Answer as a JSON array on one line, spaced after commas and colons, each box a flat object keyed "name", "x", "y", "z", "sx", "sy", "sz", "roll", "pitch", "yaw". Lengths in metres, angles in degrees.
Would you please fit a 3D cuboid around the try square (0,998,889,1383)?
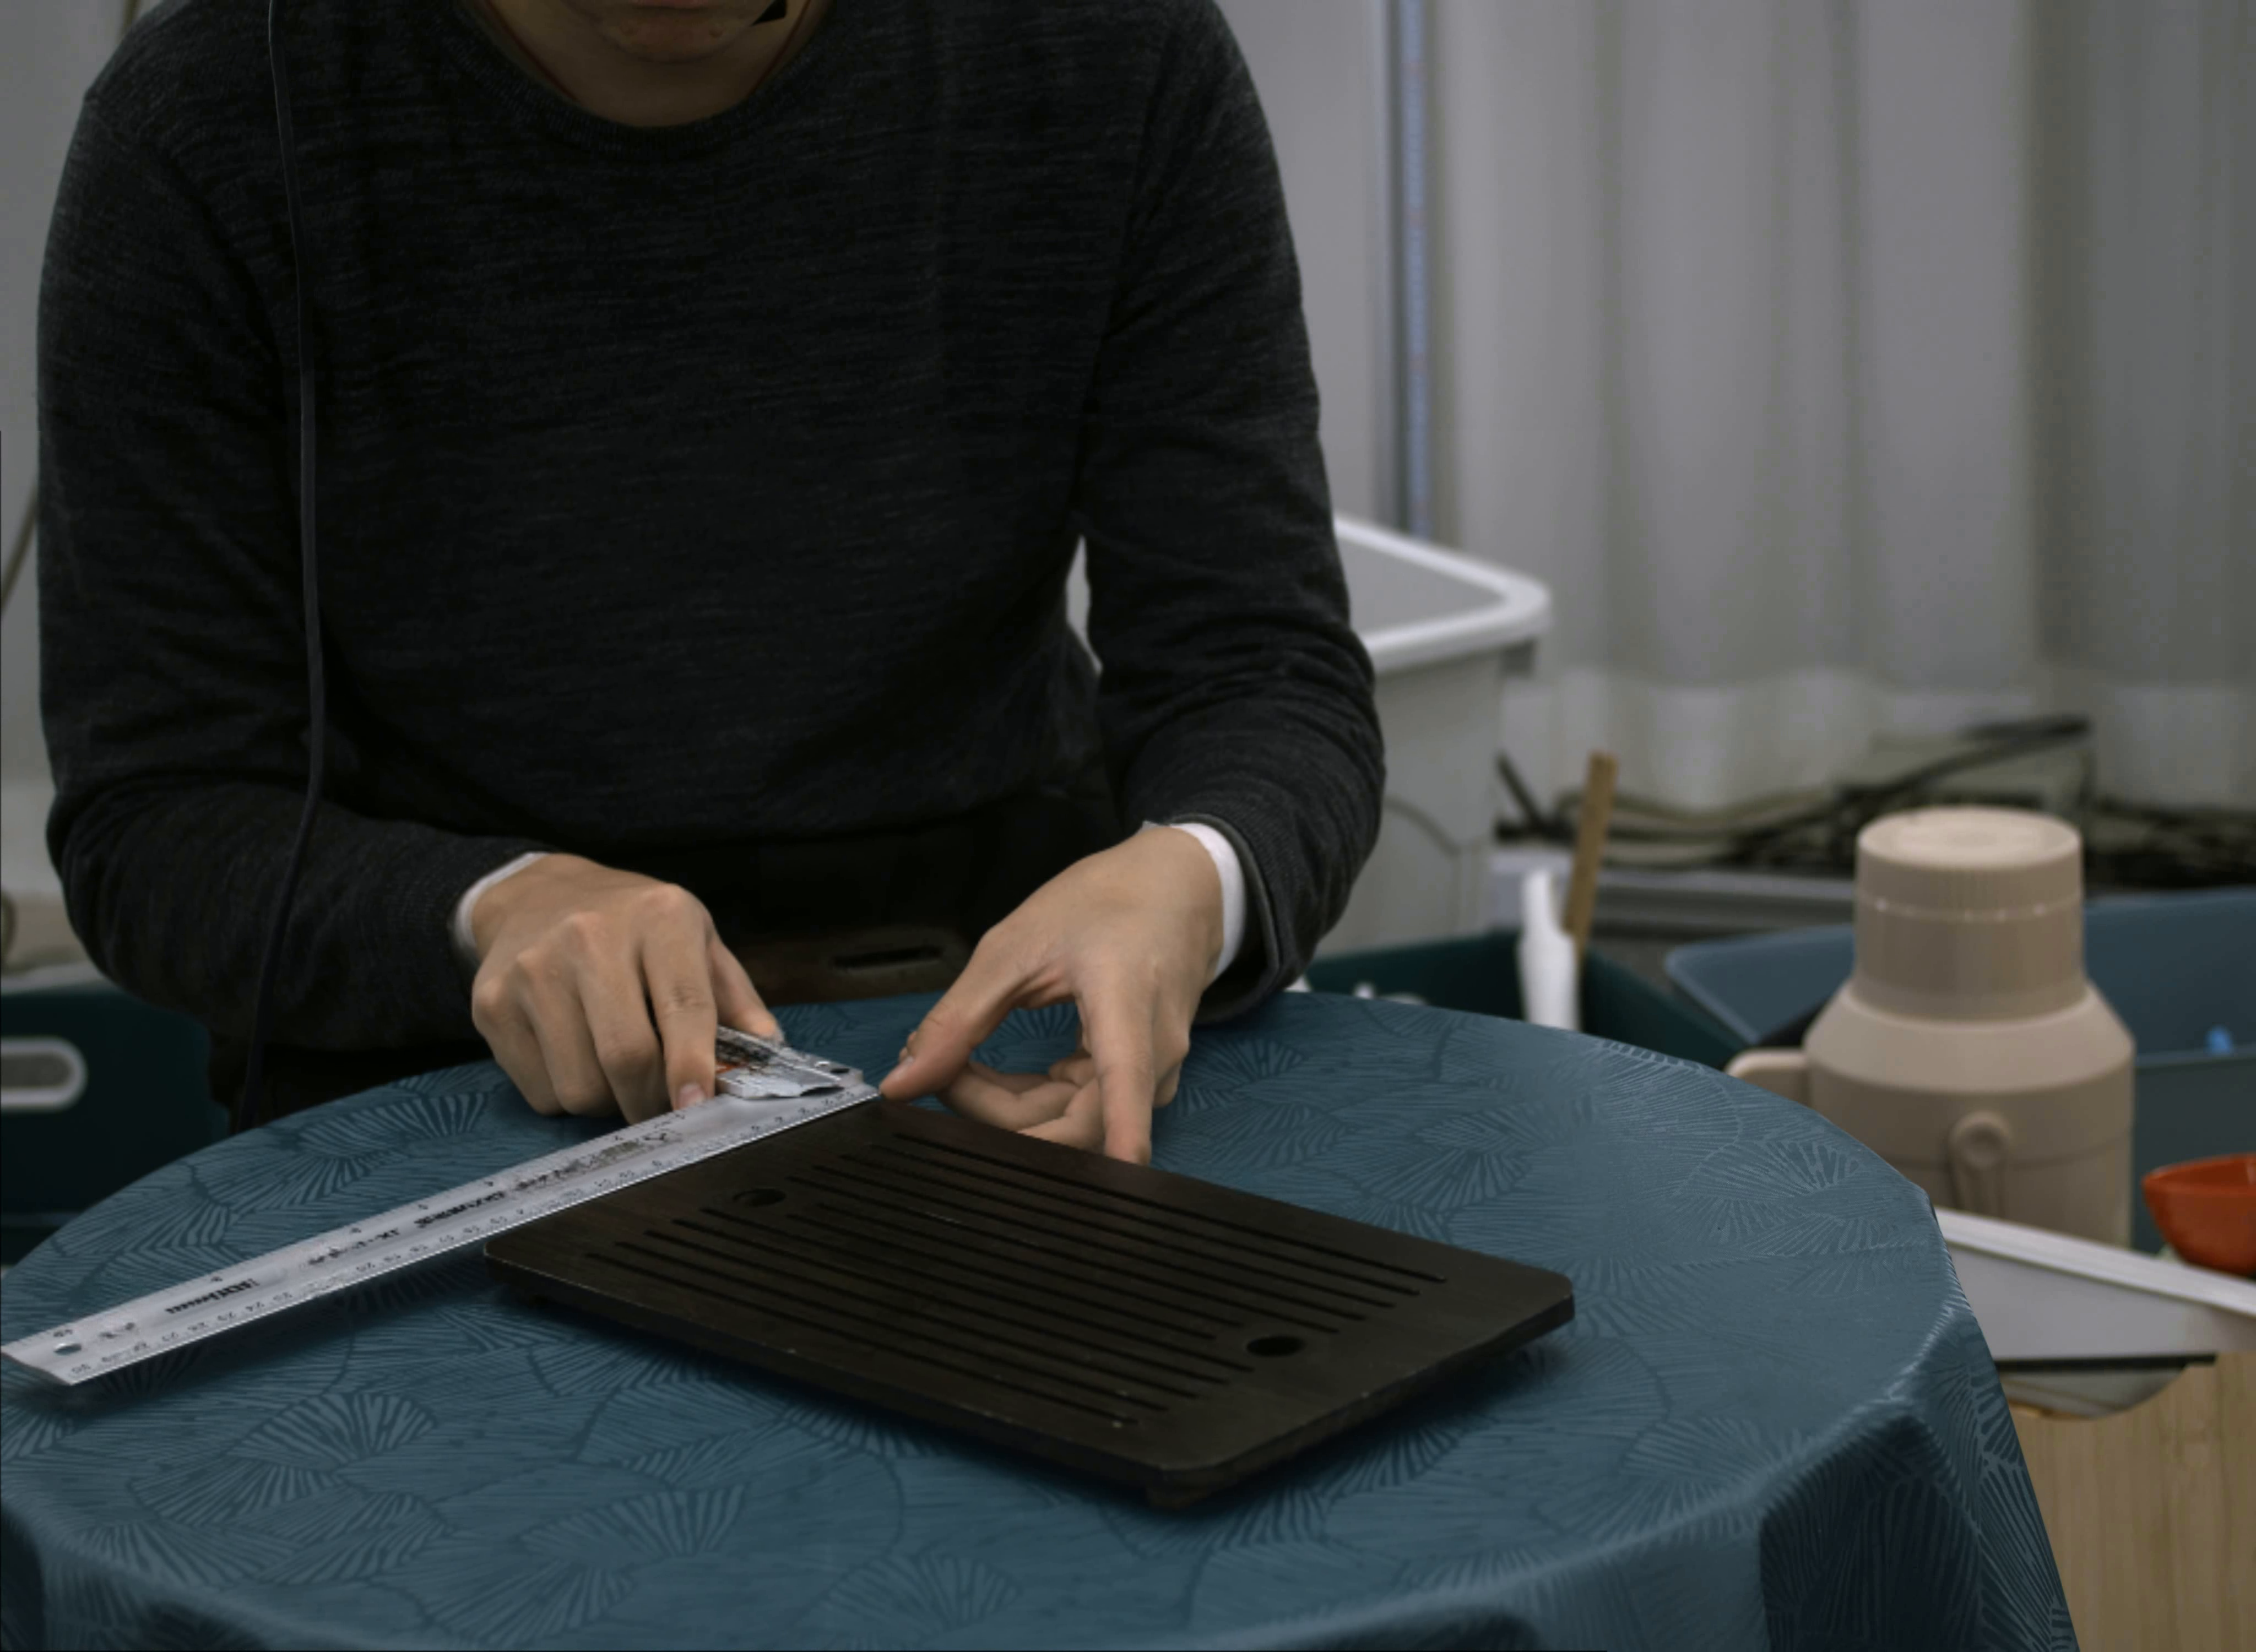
[{"name": "try square", "x": -0.238, "y": 0.111, "z": 1.710, "sx": 0.312, "sy": 0.016, "sz": 0.153, "roll": -18, "pitch": 20, "yaw": -40}]

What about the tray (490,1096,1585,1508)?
[{"name": "tray", "x": -0.031, "y": 0.135, "z": 1.600, "sx": 0.307, "sy": 0.018, "sz": 0.170, "roll": 11, "pitch": 22, "yaw": 44}]
